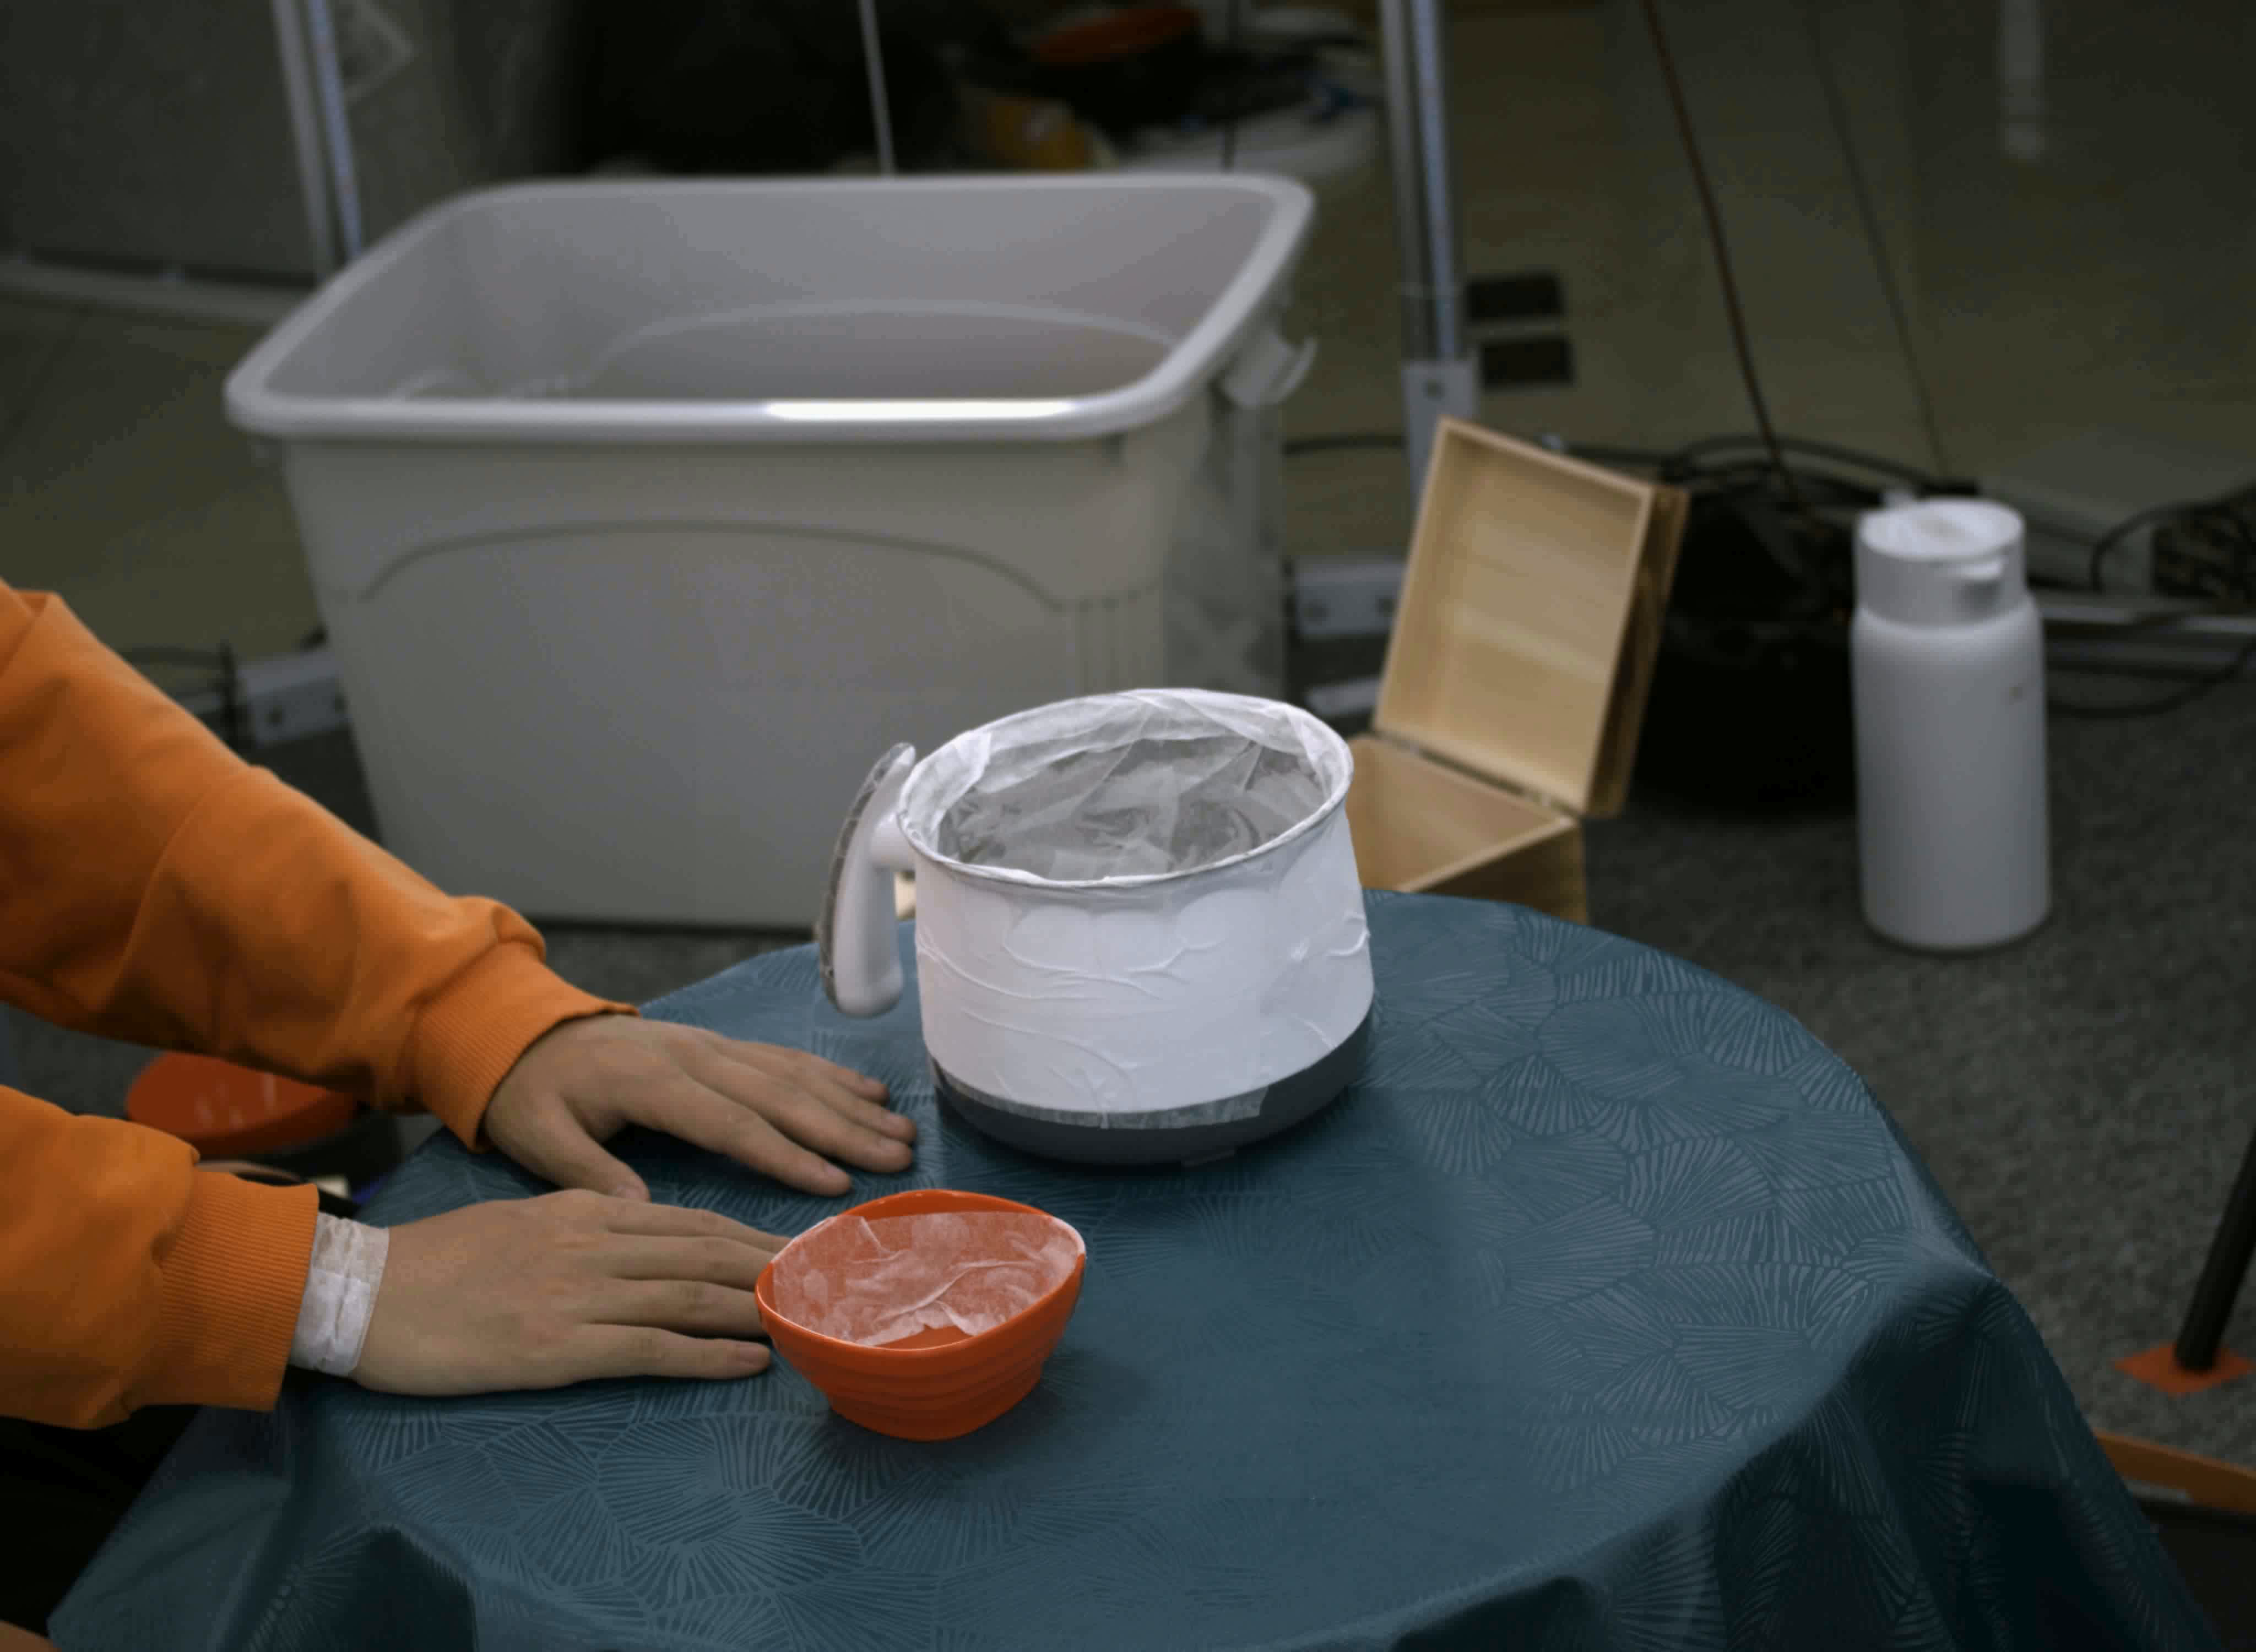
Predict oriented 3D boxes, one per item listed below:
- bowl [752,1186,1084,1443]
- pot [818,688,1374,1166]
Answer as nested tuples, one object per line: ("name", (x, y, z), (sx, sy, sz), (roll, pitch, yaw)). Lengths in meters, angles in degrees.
("bowl", (-0.072, 0.178, 2.020), (0.119, 0.052, 0.117), (-5, 27, 3))
("pot", (-0.020, 0.038, 2.203), (0.233, 0.139, 0.176), (7, 28, 26))
